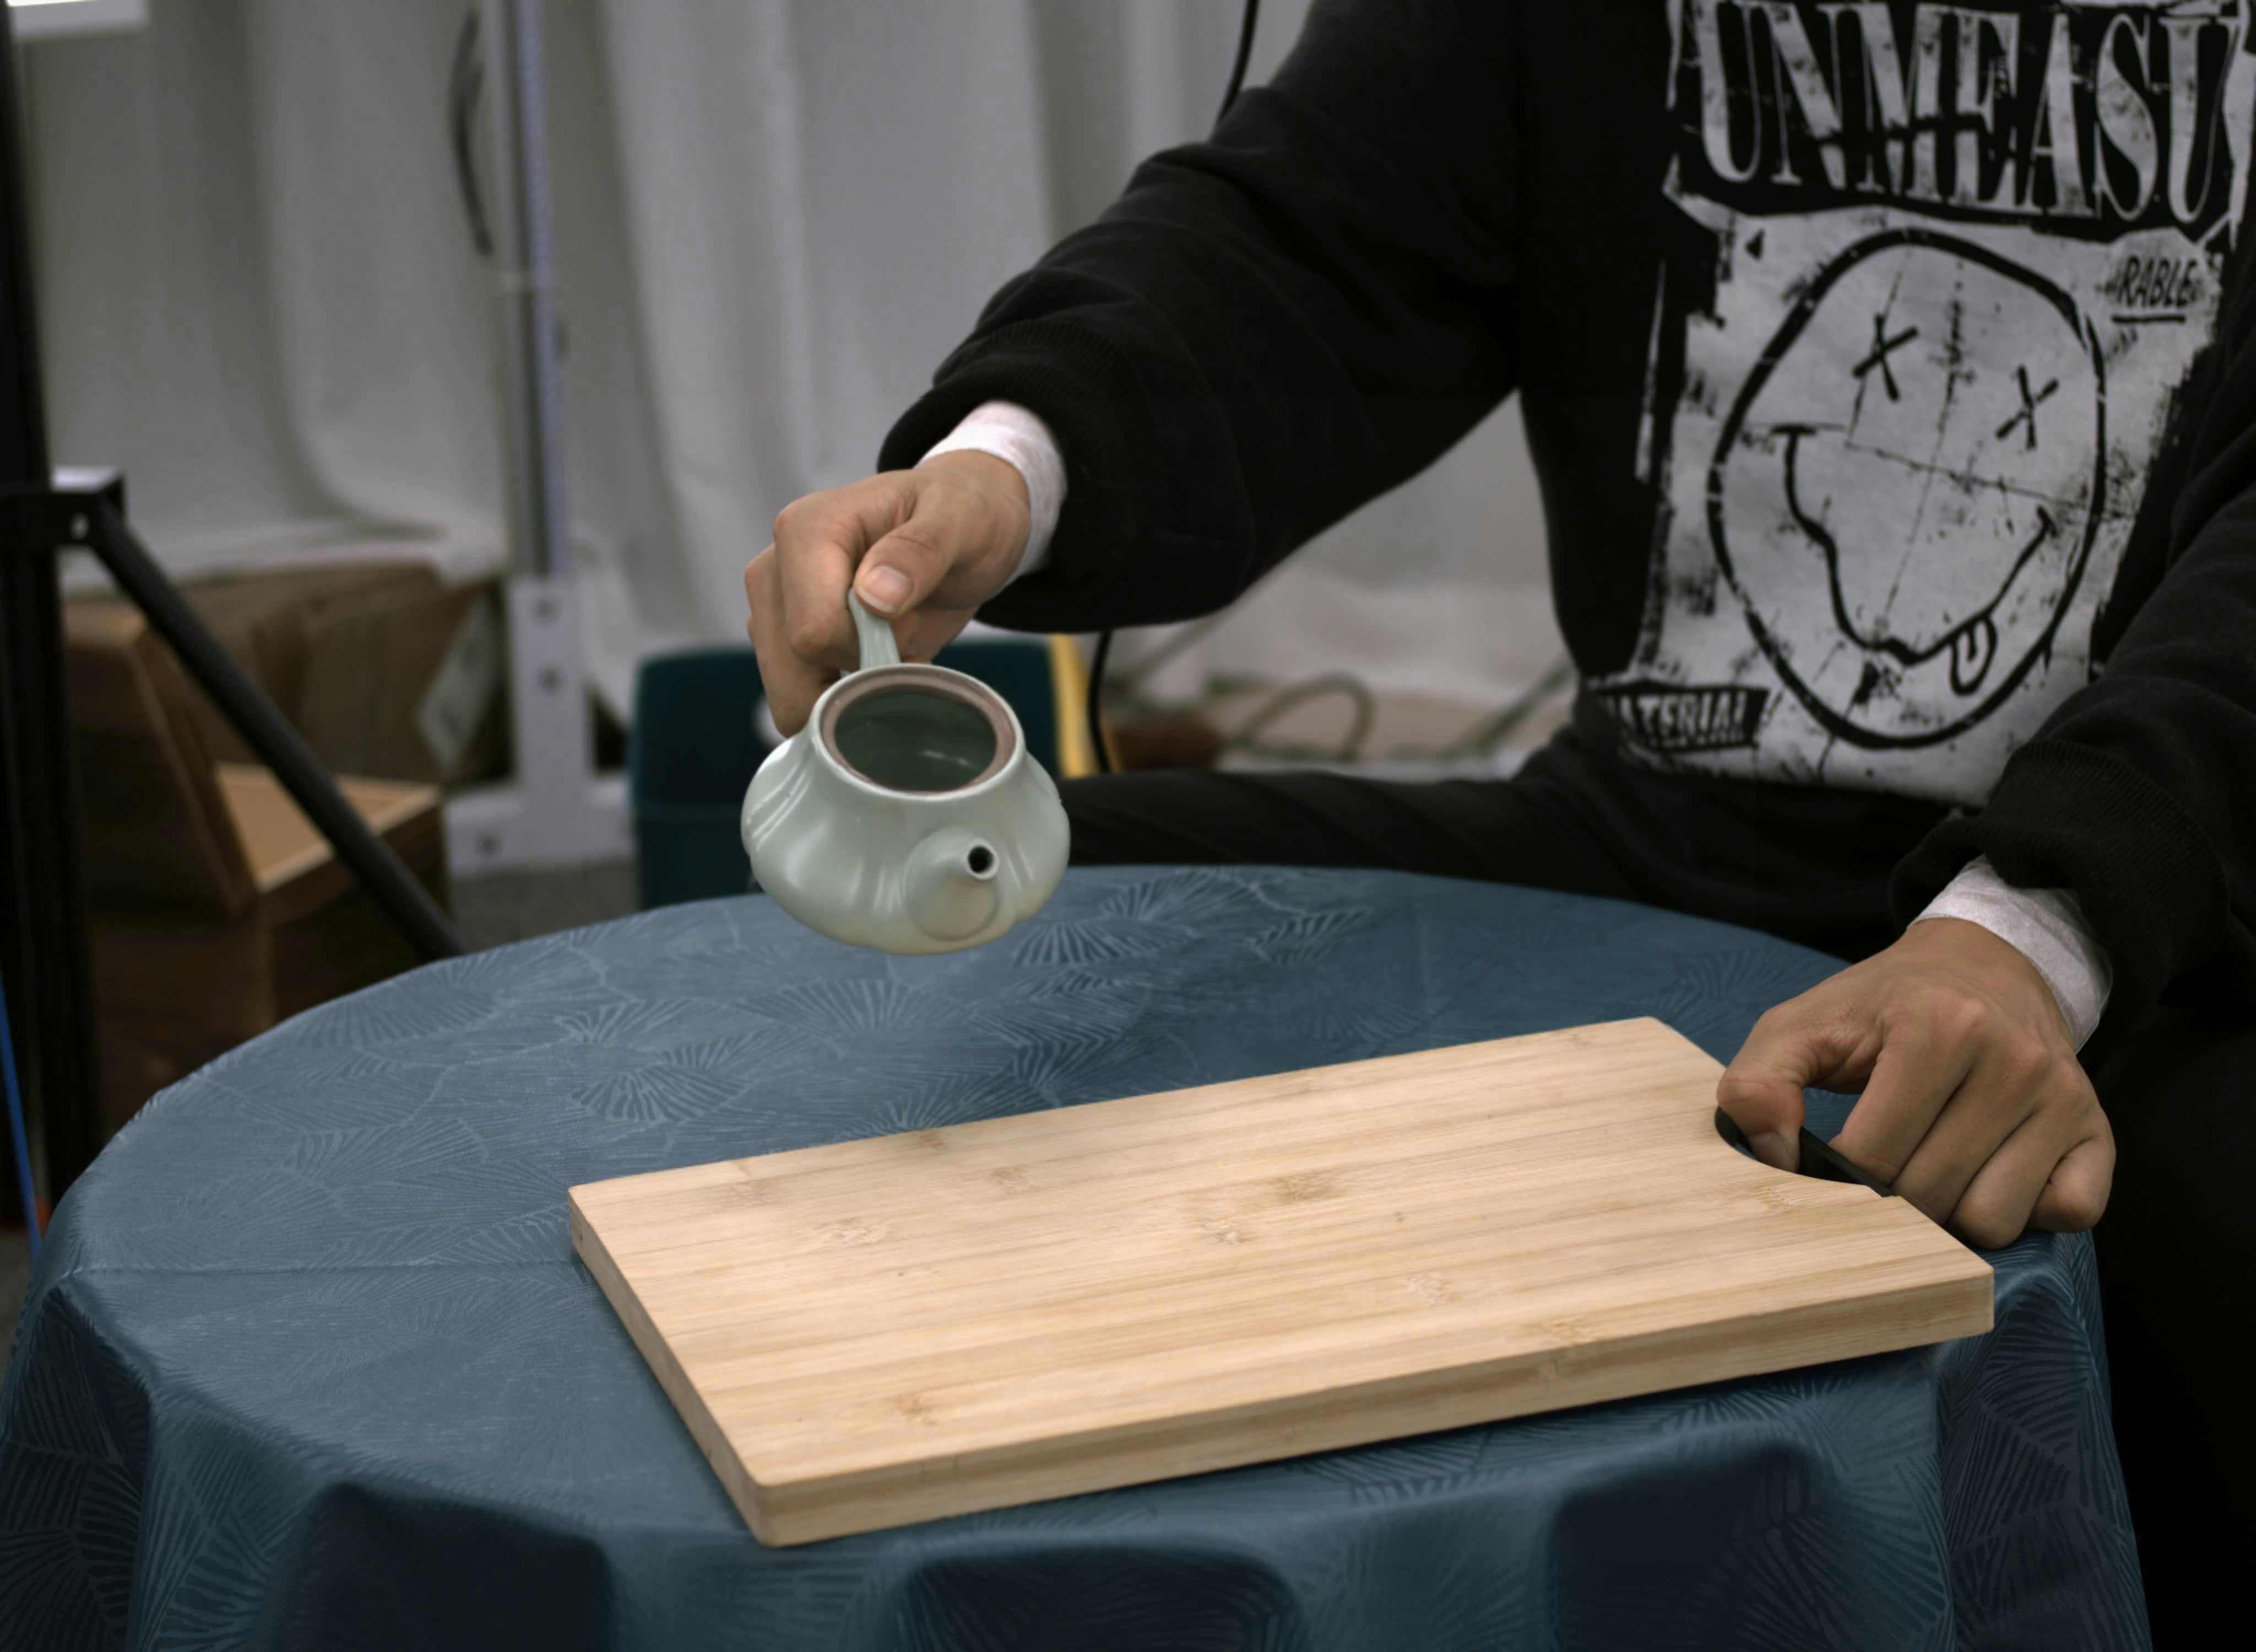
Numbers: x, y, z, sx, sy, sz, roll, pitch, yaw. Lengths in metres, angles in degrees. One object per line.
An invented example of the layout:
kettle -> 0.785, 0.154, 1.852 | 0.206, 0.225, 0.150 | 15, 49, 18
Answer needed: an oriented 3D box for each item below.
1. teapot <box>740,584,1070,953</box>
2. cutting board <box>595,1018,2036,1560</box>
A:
teapot -> -0.065, -0.012, 1.549 | 0.094, 0.061, 0.139 | -10, 44, -18
cutting board -> 0.041, 0.120, 1.464 | 0.343, 0.023, 0.255 | -9, 17, -15
